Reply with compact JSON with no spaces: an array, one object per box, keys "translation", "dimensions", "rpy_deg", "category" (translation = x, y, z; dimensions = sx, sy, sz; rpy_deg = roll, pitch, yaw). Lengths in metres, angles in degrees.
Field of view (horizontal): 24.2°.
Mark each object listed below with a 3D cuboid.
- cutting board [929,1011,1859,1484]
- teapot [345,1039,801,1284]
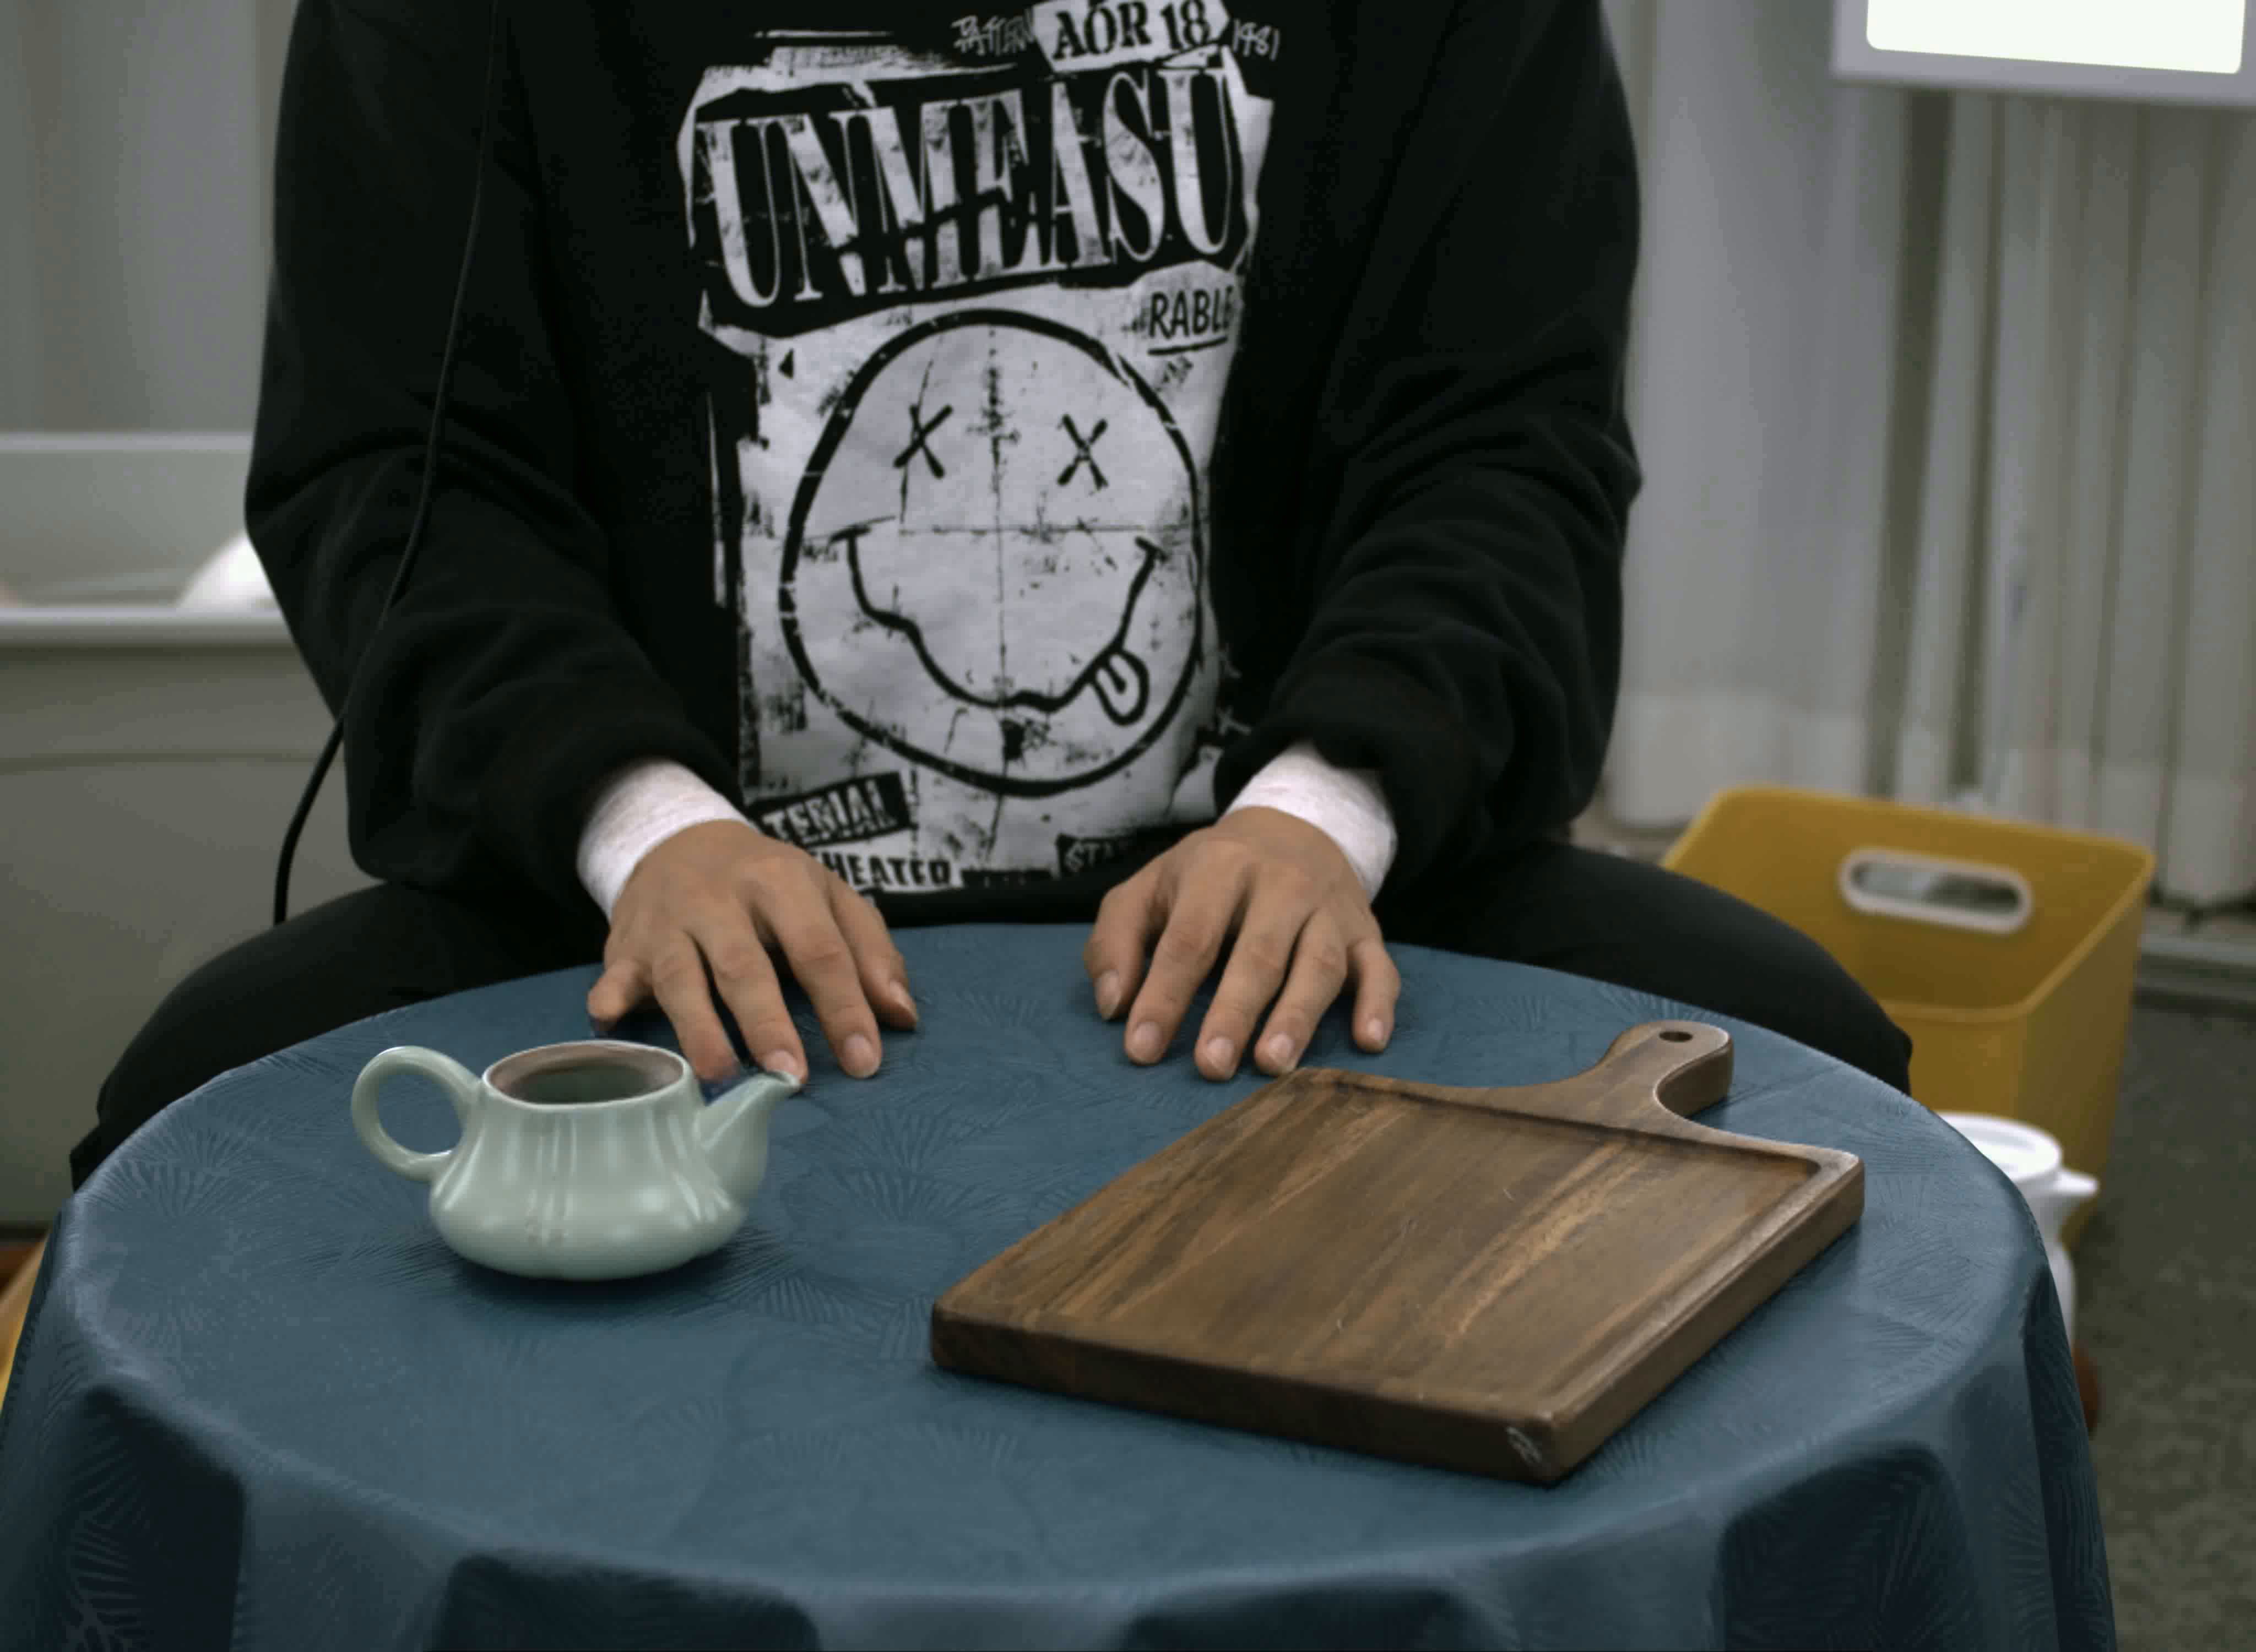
[{"translation":[0.105,0.113,1.582],"dimensions":[0.199,0.023,0.353],"rpy_deg":[8,17,25],"category":"cutting board"},{"translation":[-0.164,0.098,1.557],"dimensions":[0.136,0.062,0.096],"rpy_deg":[2,17,5],"category":"teapot"}]
